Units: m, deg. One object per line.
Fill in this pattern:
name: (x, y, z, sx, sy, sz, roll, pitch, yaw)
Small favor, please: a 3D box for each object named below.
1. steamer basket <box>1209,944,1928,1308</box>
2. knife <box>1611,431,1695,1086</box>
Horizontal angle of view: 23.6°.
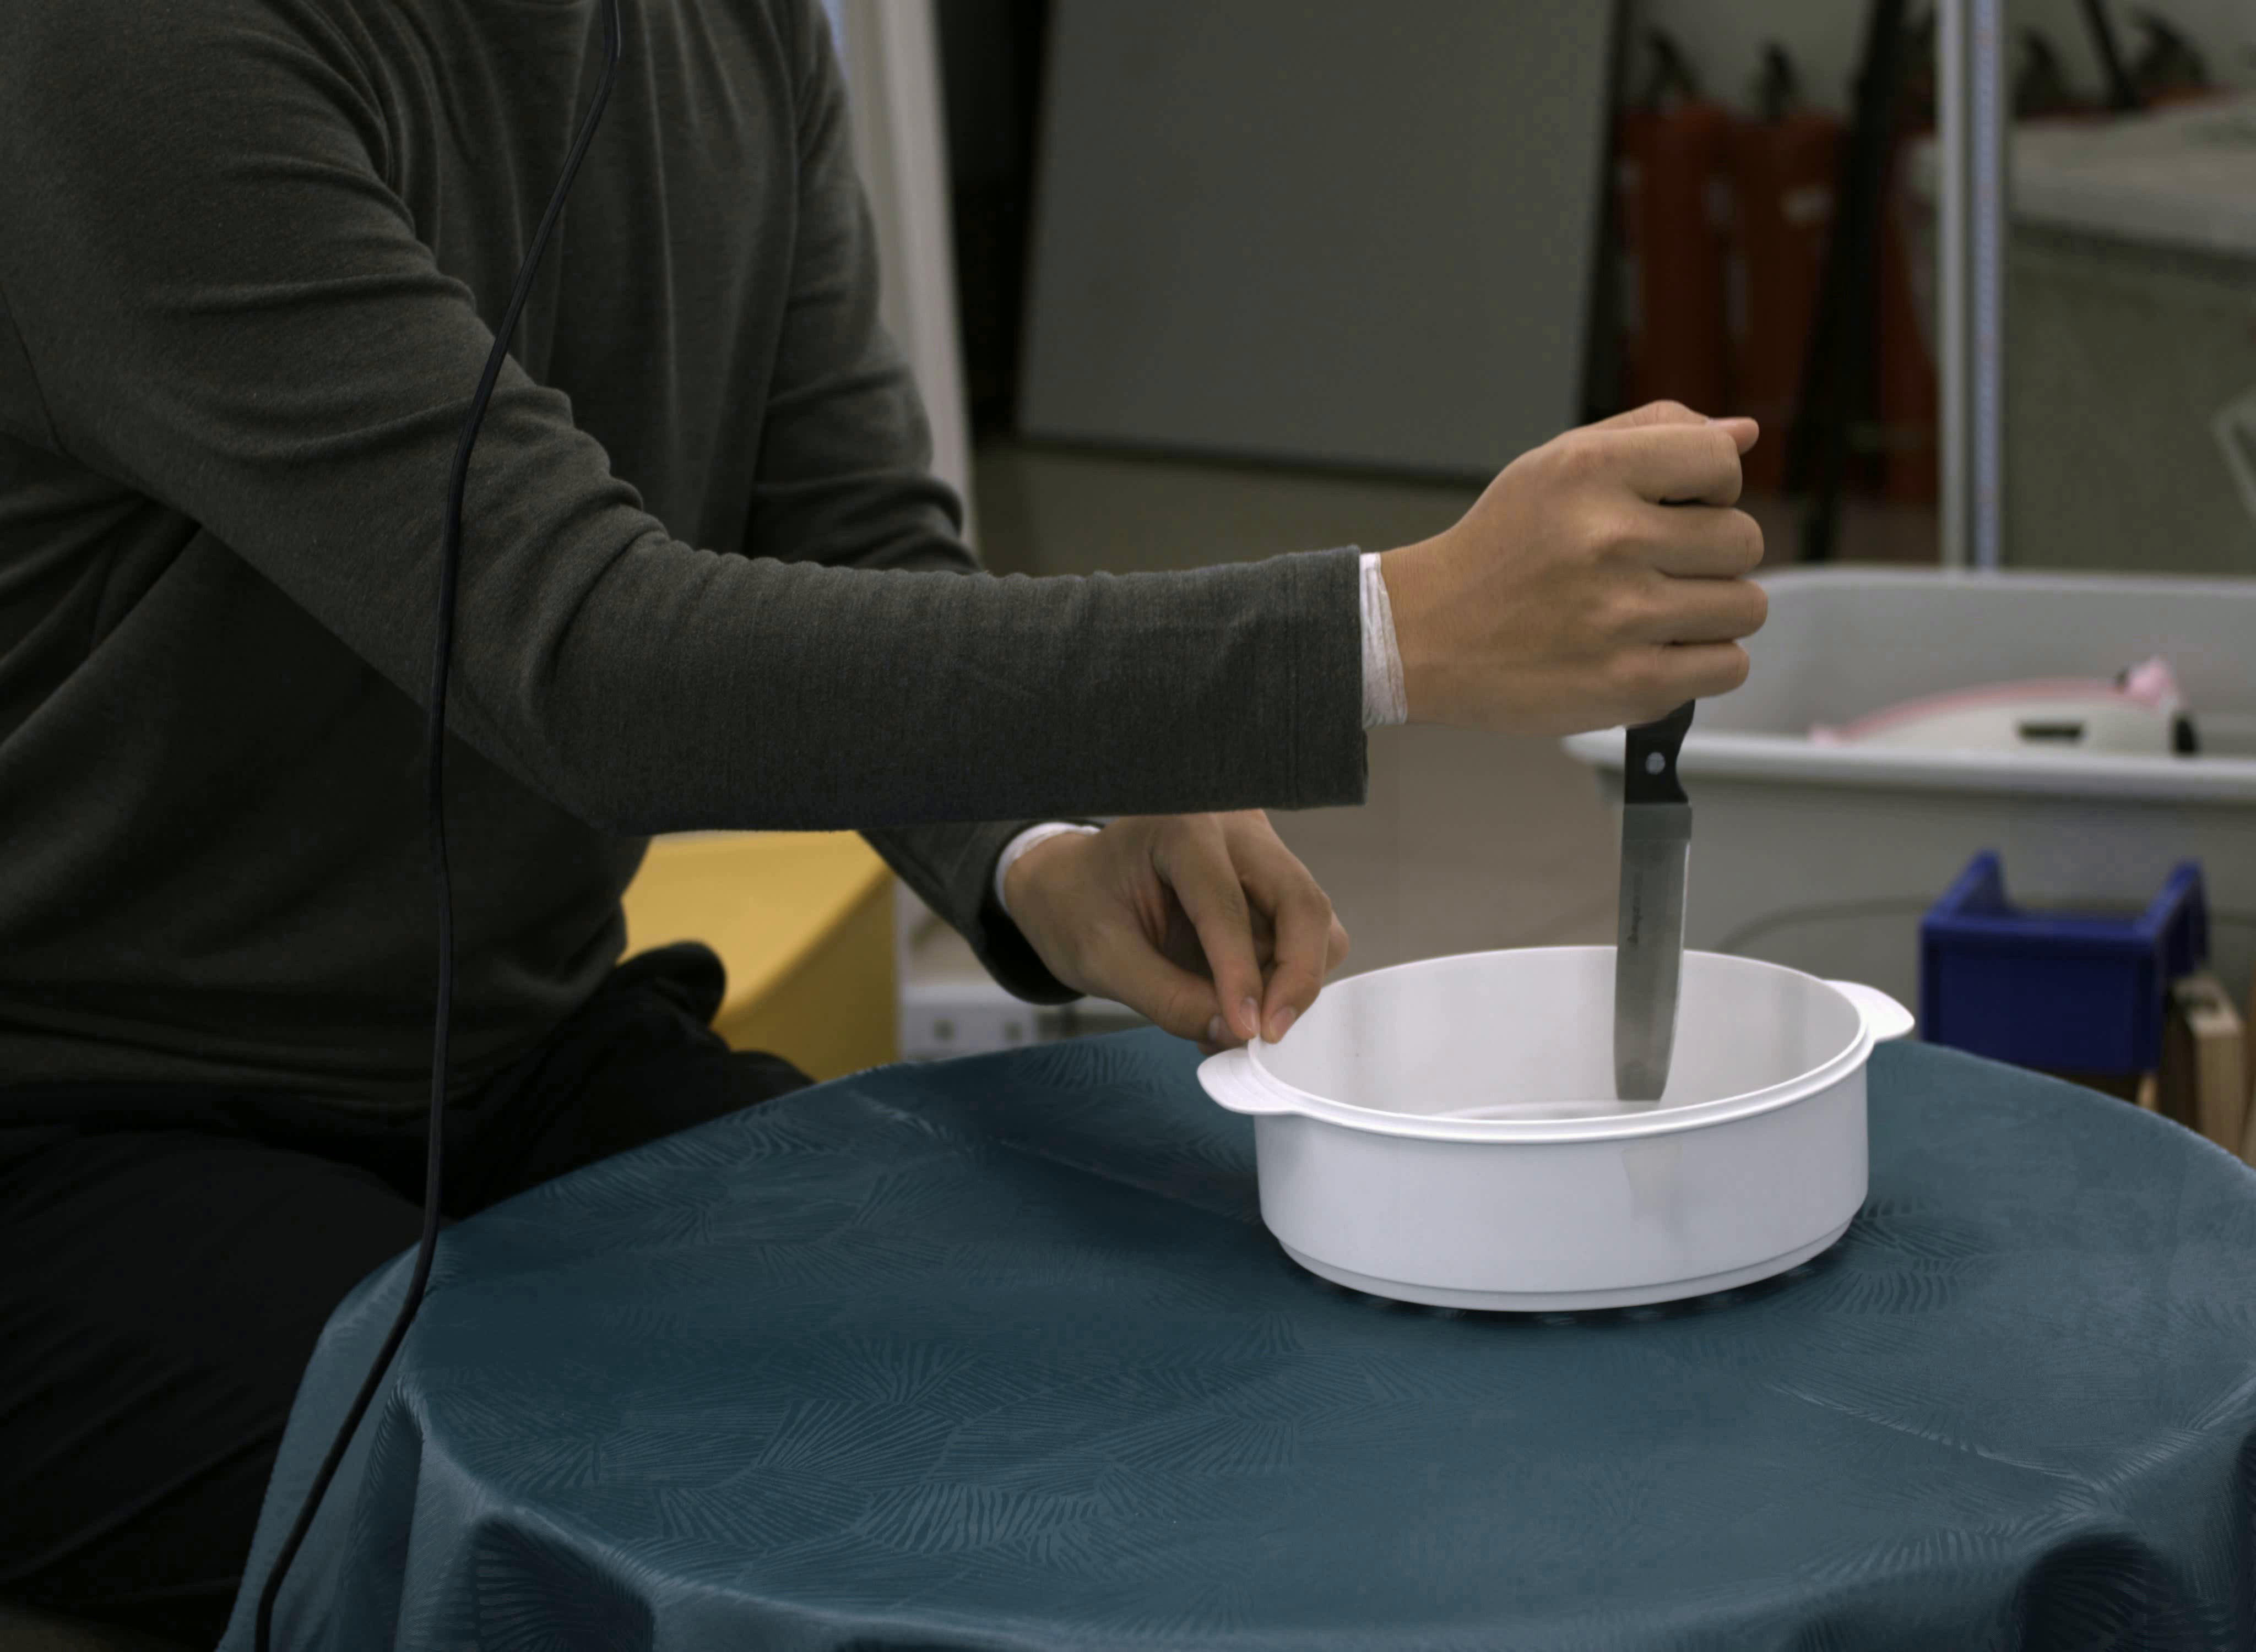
steamer basket: (0.141, 0.094, 1.698, 0.226, 0.070, 0.203, -7, 13, -8)
knife: (0.162, -0.002, 1.673, 0.024, 0.241, 0.016, 1, 13, 0)
